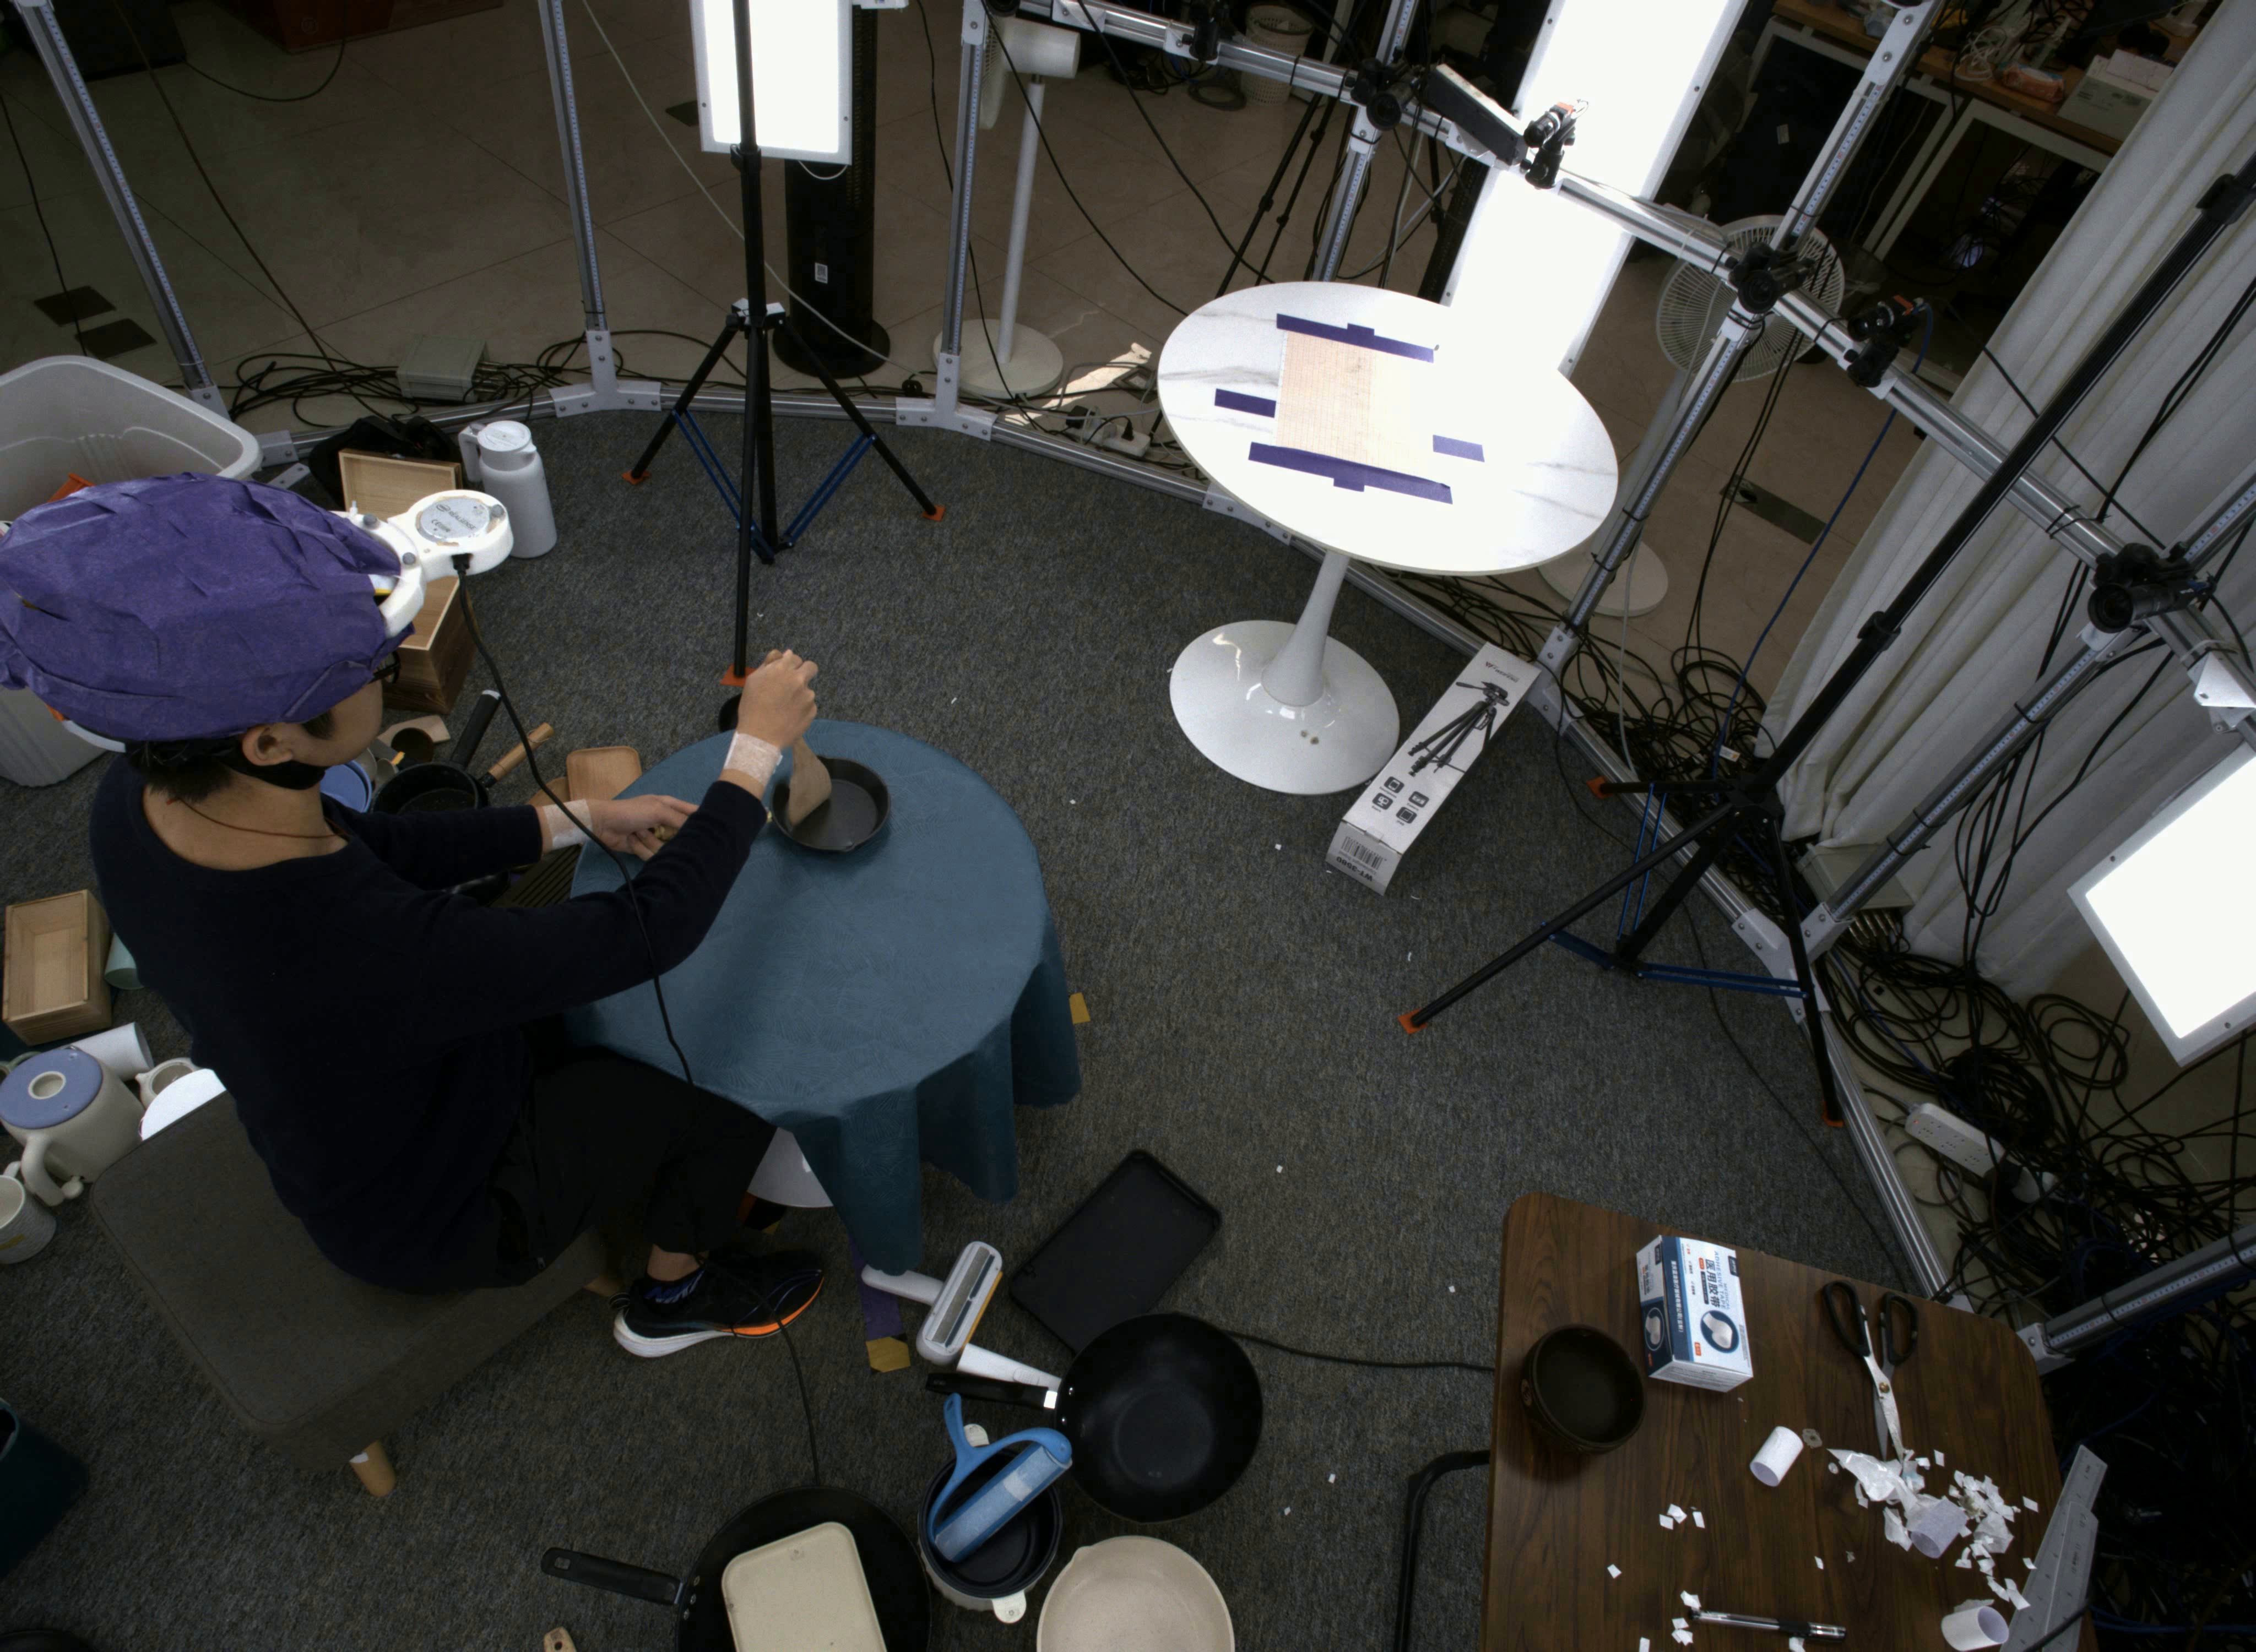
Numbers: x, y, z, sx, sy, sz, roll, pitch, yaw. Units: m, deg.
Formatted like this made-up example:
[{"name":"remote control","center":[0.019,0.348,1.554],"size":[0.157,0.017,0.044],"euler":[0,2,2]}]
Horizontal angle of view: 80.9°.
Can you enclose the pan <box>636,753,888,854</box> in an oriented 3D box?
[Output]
[{"name":"pan","center":[-0.472,-0.014,1.679],"size":[0.326,0.050,0.165],"euler":[-10,57,-23]}]

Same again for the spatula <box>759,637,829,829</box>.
[{"name":"spatula","center":[-0.416,-0.110,1.590],"size":[0.016,0.336,0.080],"euler":[27,58,17]}]
